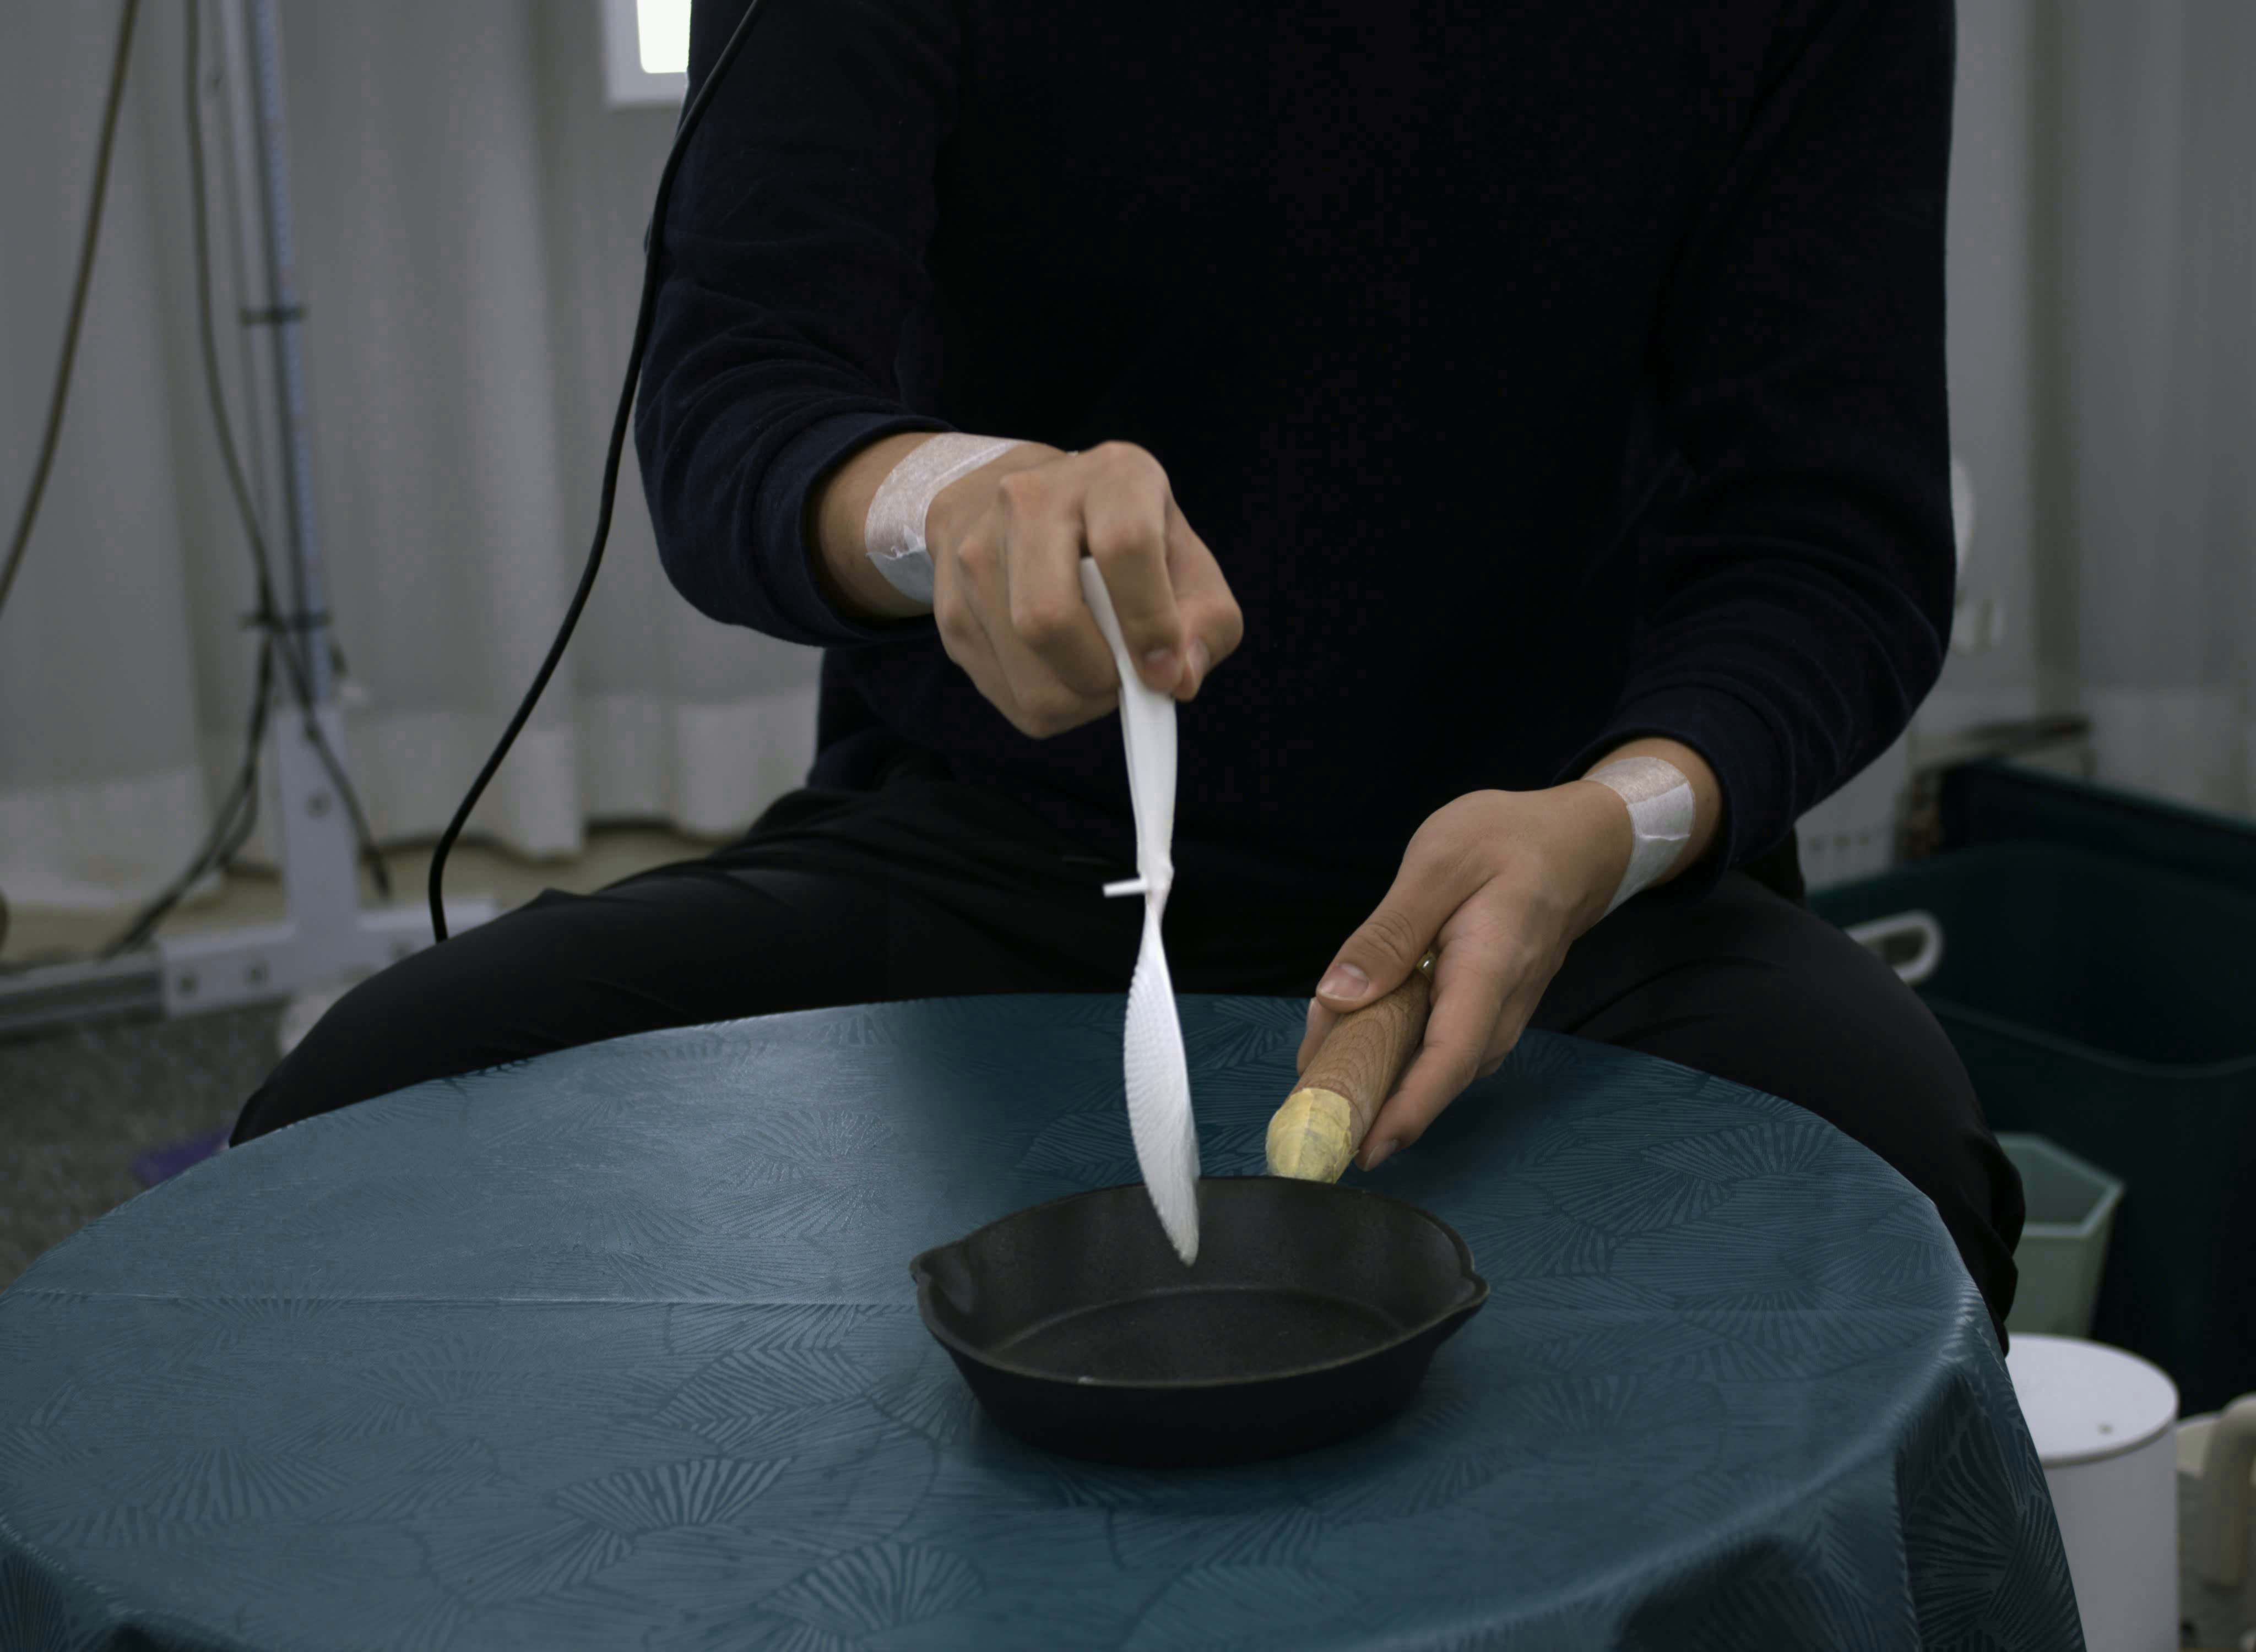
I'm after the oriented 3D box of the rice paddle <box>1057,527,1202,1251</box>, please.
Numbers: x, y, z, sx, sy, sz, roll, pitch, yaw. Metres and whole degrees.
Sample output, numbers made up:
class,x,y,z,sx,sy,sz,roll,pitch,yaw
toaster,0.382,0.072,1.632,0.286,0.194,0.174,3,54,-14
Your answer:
class,x,y,z,sx,sy,sz,roll,pitch,yaw
rice paddle,0.008,0.019,1.551,0.029,0.206,0.069,-8,1,-3

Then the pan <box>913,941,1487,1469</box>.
class,x,y,z,sx,sy,sz,roll,pitch,yaw
pan,0.047,0.108,1.616,0.169,0.049,0.326,3,19,20
